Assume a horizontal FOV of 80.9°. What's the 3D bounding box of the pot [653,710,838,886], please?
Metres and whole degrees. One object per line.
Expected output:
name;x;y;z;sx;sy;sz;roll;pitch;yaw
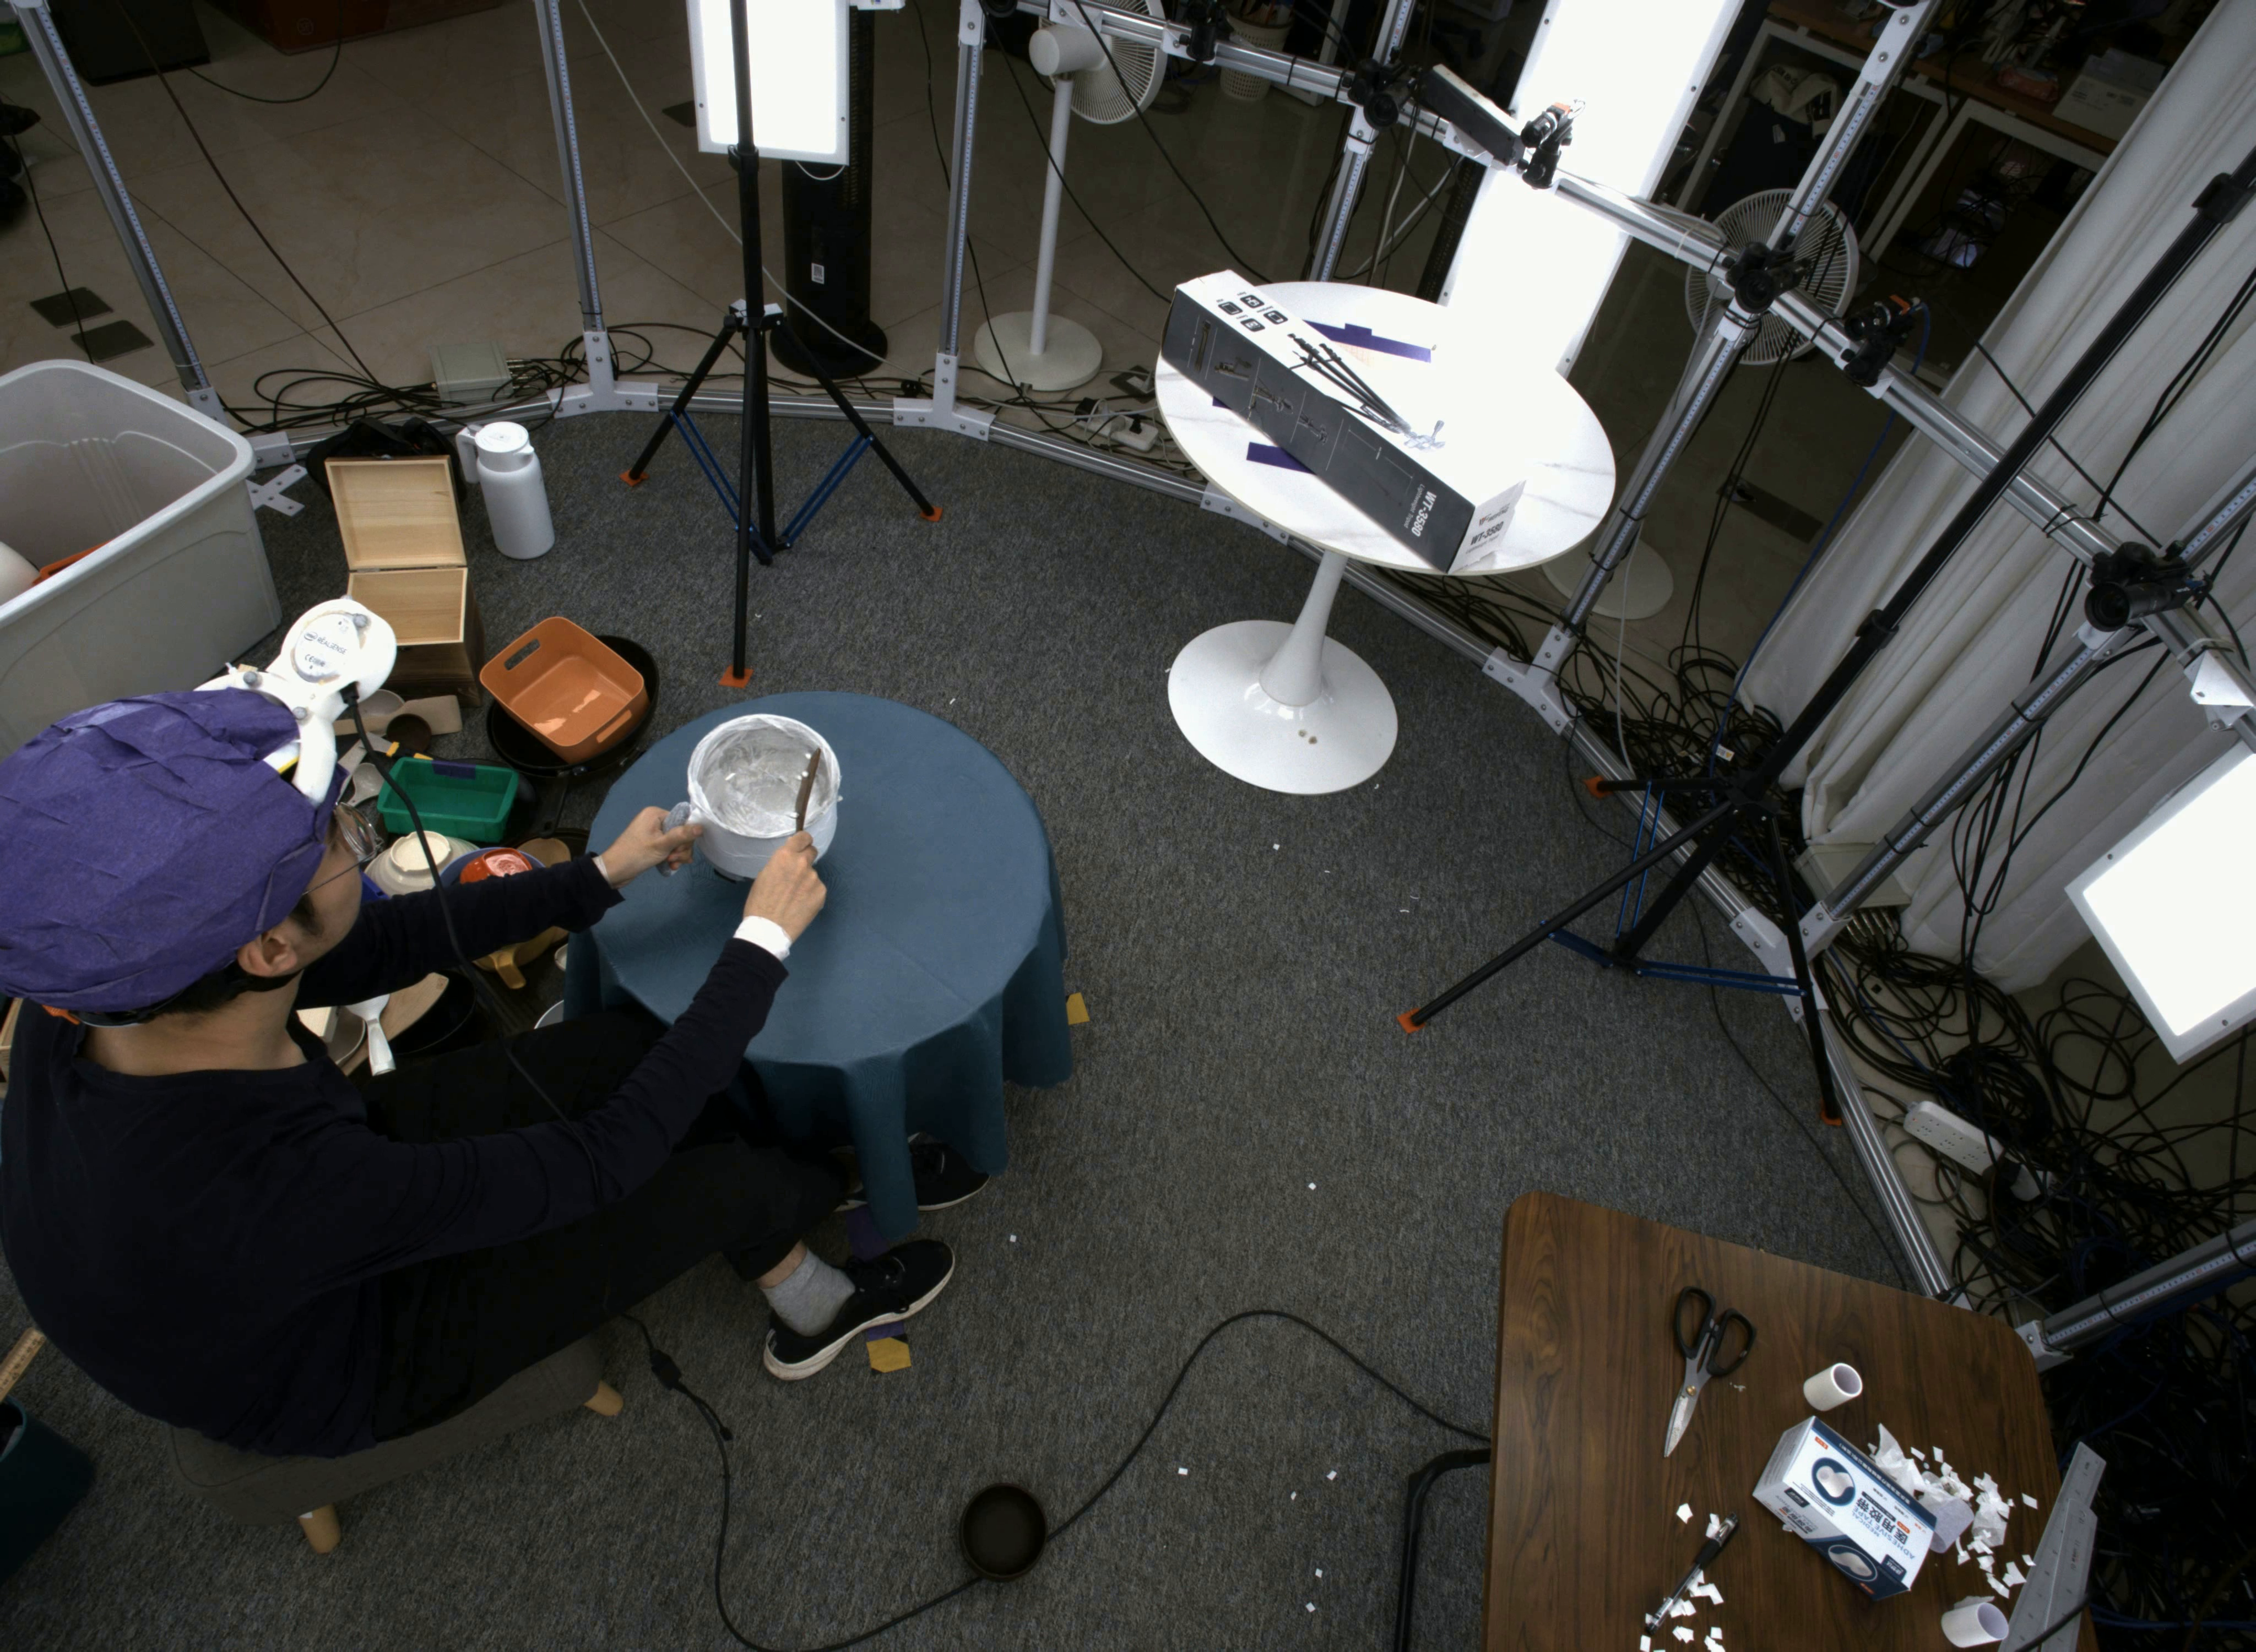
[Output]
pot;-0.468;-0.020;1.572;0.234;0.139;0.175;-29;68;-31

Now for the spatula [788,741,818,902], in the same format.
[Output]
spatula;-0.369;-0.004;1.458;0.009;0.072;0.211;13;51;-21
